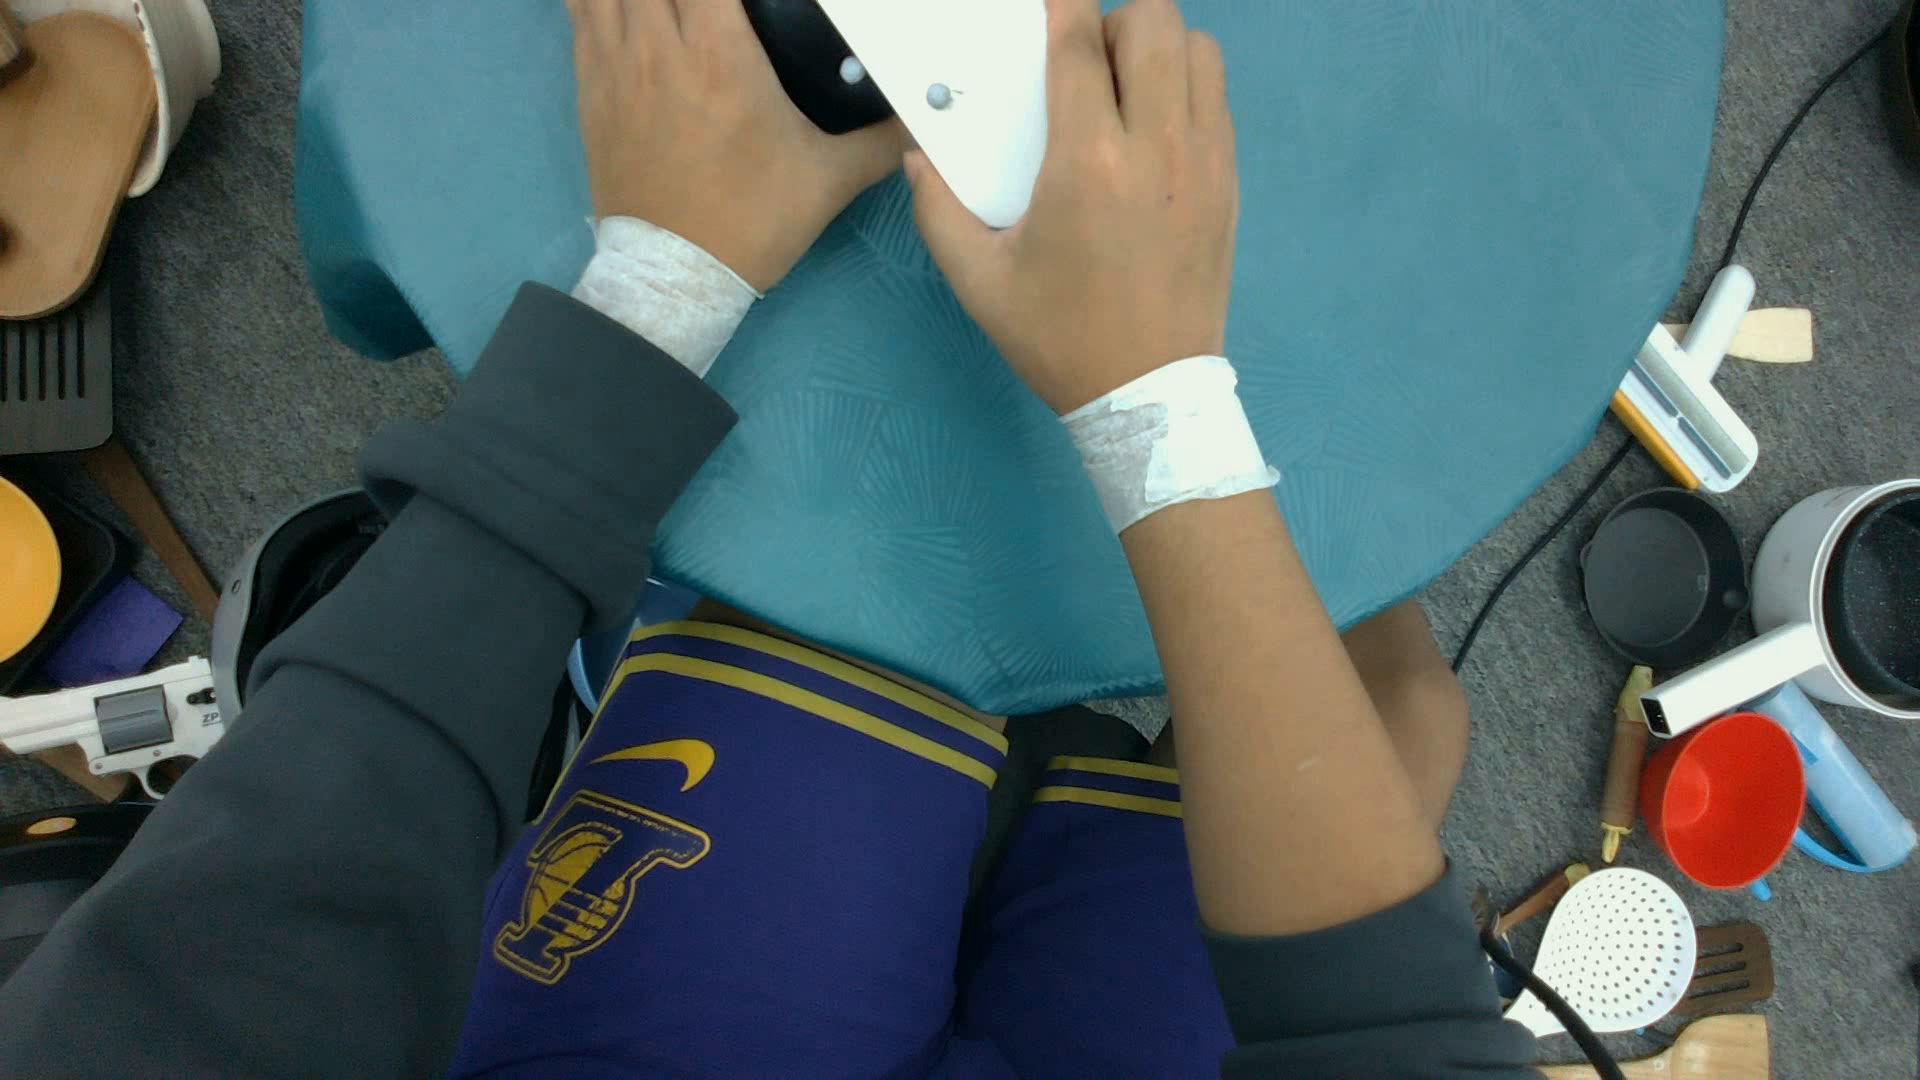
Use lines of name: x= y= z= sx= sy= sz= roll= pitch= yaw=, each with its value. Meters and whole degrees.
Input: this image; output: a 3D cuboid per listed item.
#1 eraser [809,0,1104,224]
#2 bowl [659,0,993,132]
eraser: x=-0.008 y=-0.172 z=0.470 sx=0.063 sy=0.034 sz=0.131 roll=-34 pitch=90 yaw=4
bowl: x=-0.043 y=-0.226 z=0.510 sx=0.140 sy=0.050 sz=0.140 roll=-3 pitch=98 yaw=-23
